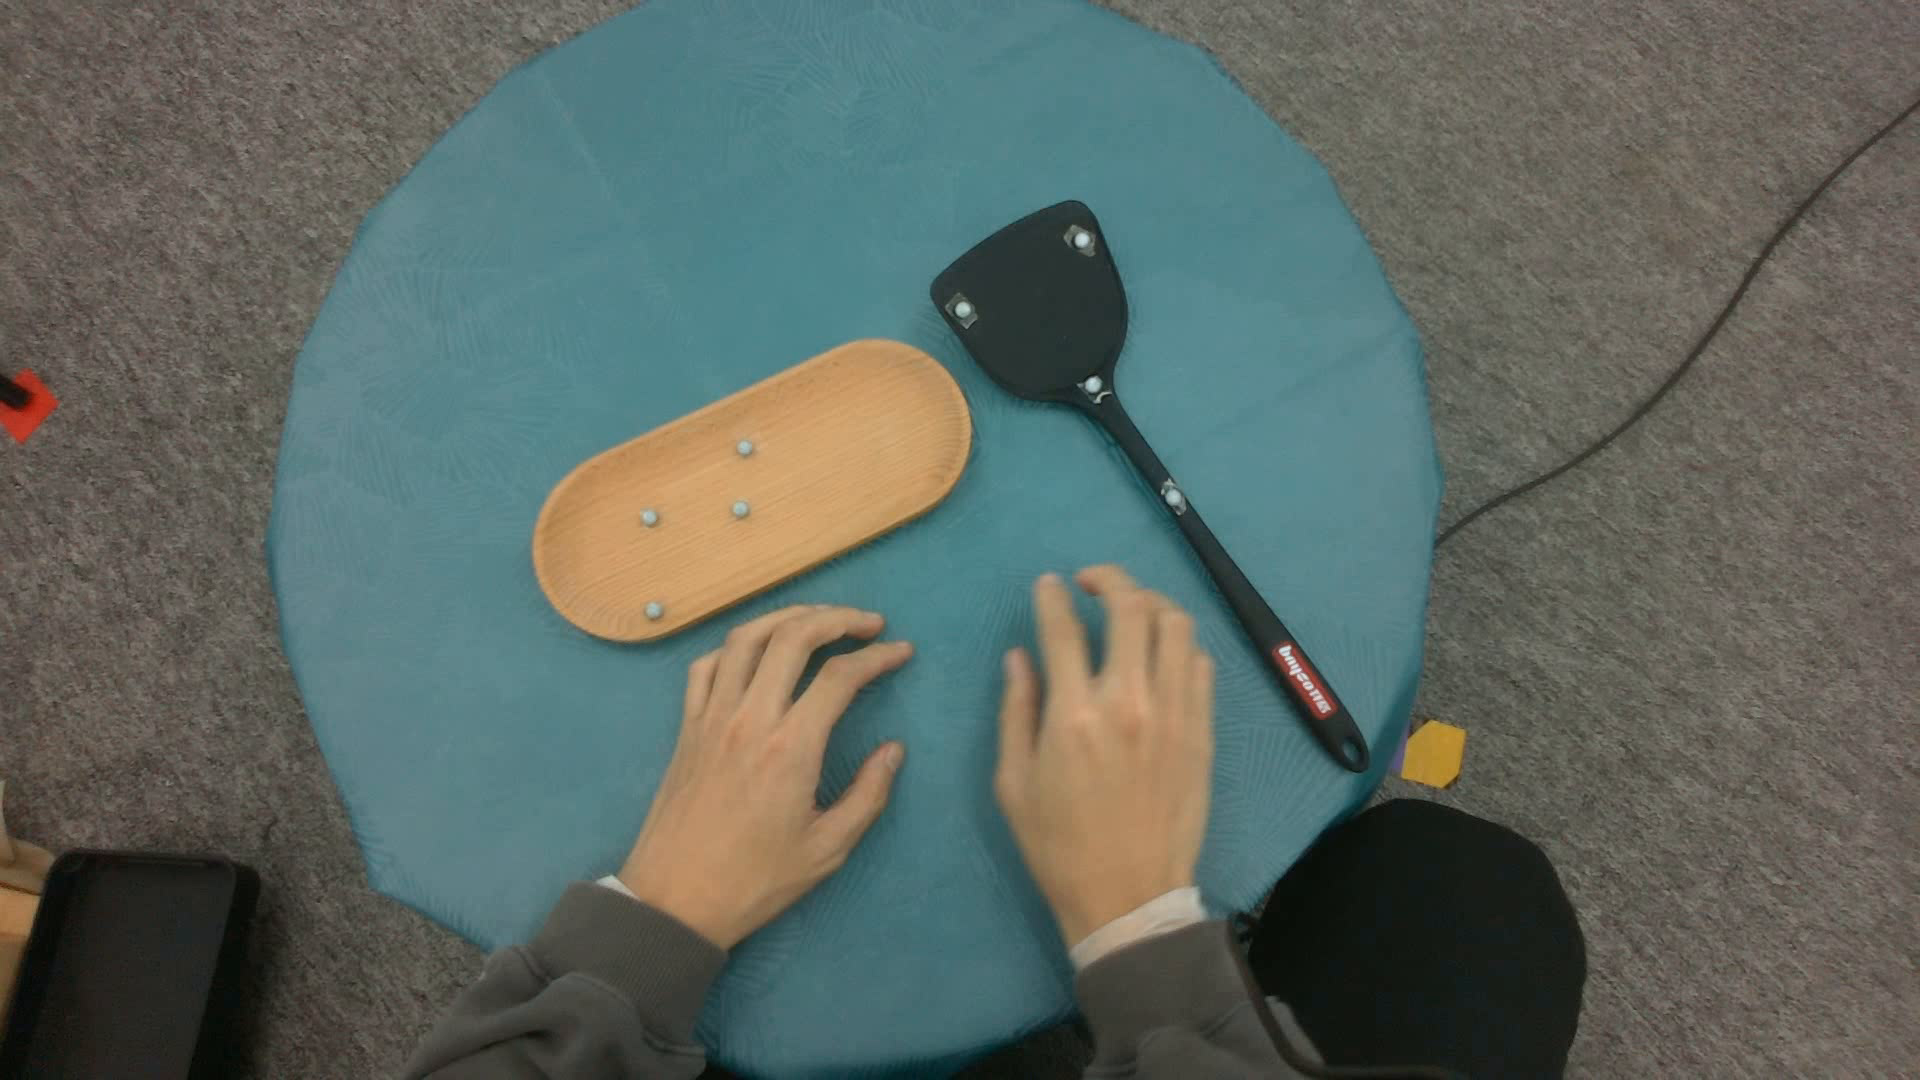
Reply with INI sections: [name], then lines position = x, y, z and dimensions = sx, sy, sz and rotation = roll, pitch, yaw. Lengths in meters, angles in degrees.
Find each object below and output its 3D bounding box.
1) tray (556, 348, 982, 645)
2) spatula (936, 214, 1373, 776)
[tray]
position = -0.097, -0.023, 0.715
dimensions = 0.231, 0.020, 0.102
rotation = -26, 75, -8
[spatula]
position = 0.111, -0.020, 0.701
dimensions = 0.100, 0.040, 0.326
rotation = -32, 76, -7
